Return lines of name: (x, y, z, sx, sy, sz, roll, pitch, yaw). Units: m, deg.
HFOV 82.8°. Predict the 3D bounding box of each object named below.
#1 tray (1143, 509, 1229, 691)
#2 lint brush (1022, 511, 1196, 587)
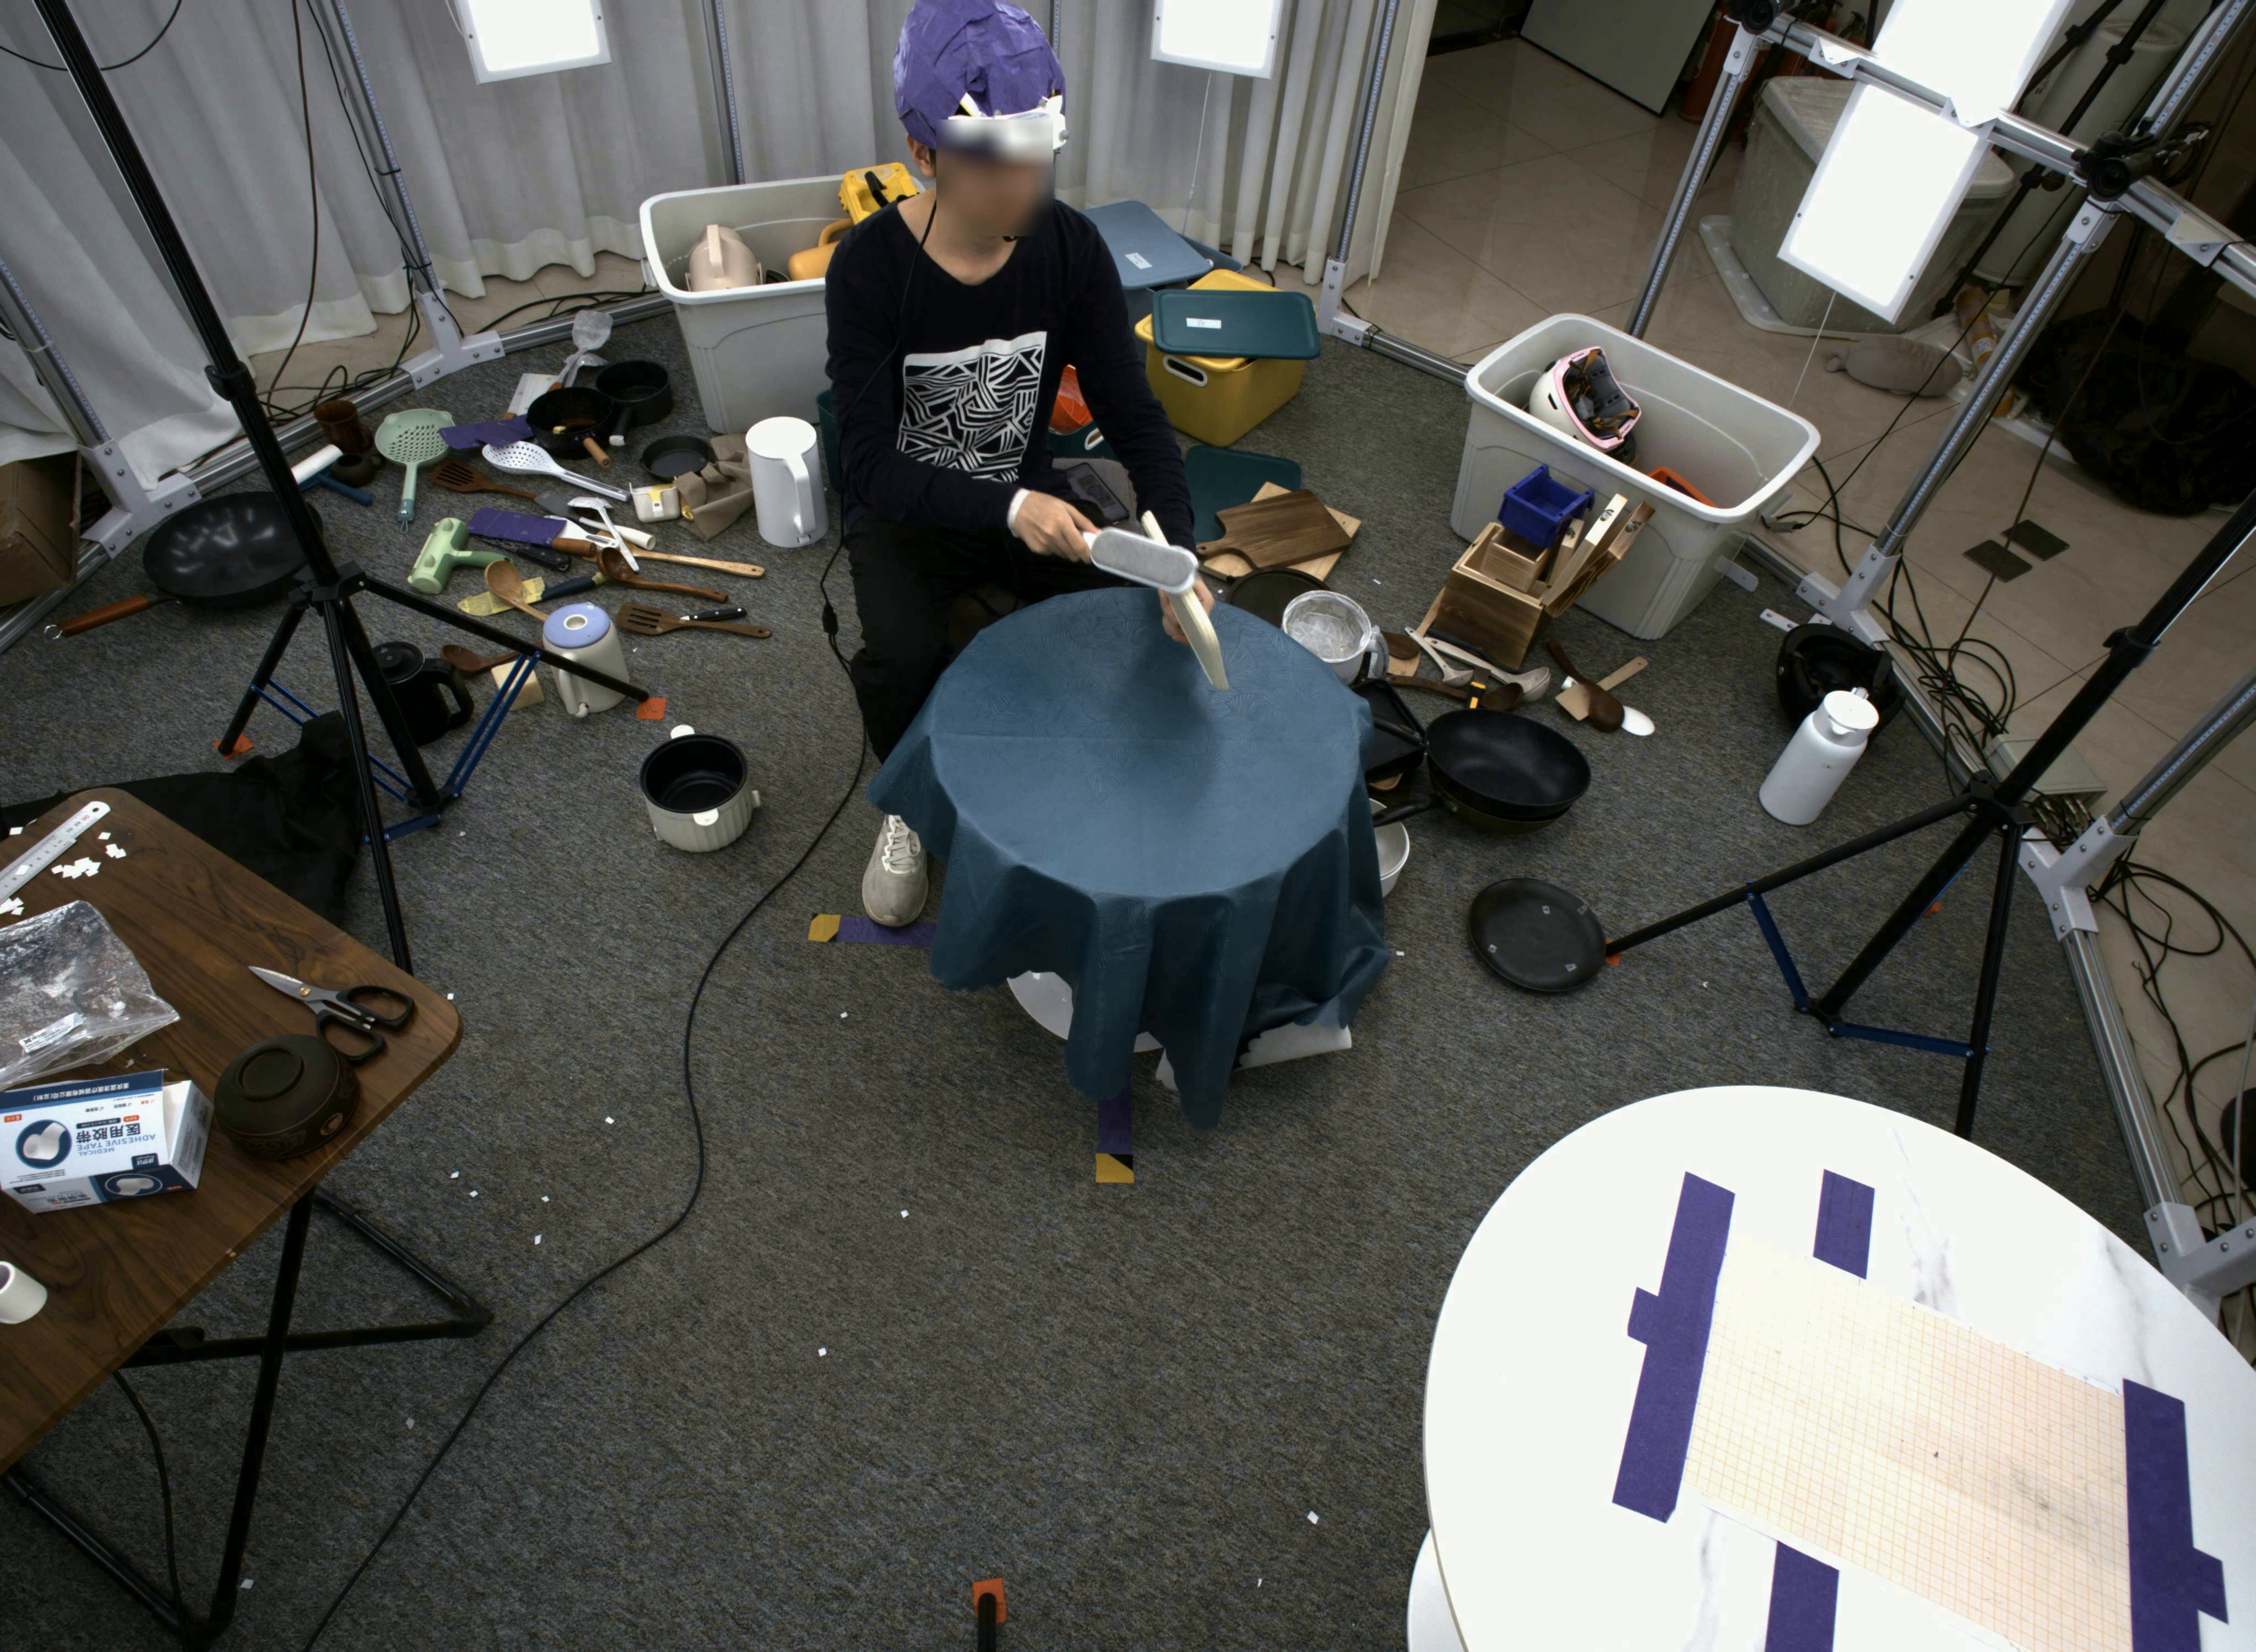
tray: (0.077, -0.306, 1.755, 0.017, 0.168, 0.244, -24, 64, 0)
lint brush: (-0.032, -0.384, 1.742, 0.313, 0.059, 0.021, 25, 11, 36)
